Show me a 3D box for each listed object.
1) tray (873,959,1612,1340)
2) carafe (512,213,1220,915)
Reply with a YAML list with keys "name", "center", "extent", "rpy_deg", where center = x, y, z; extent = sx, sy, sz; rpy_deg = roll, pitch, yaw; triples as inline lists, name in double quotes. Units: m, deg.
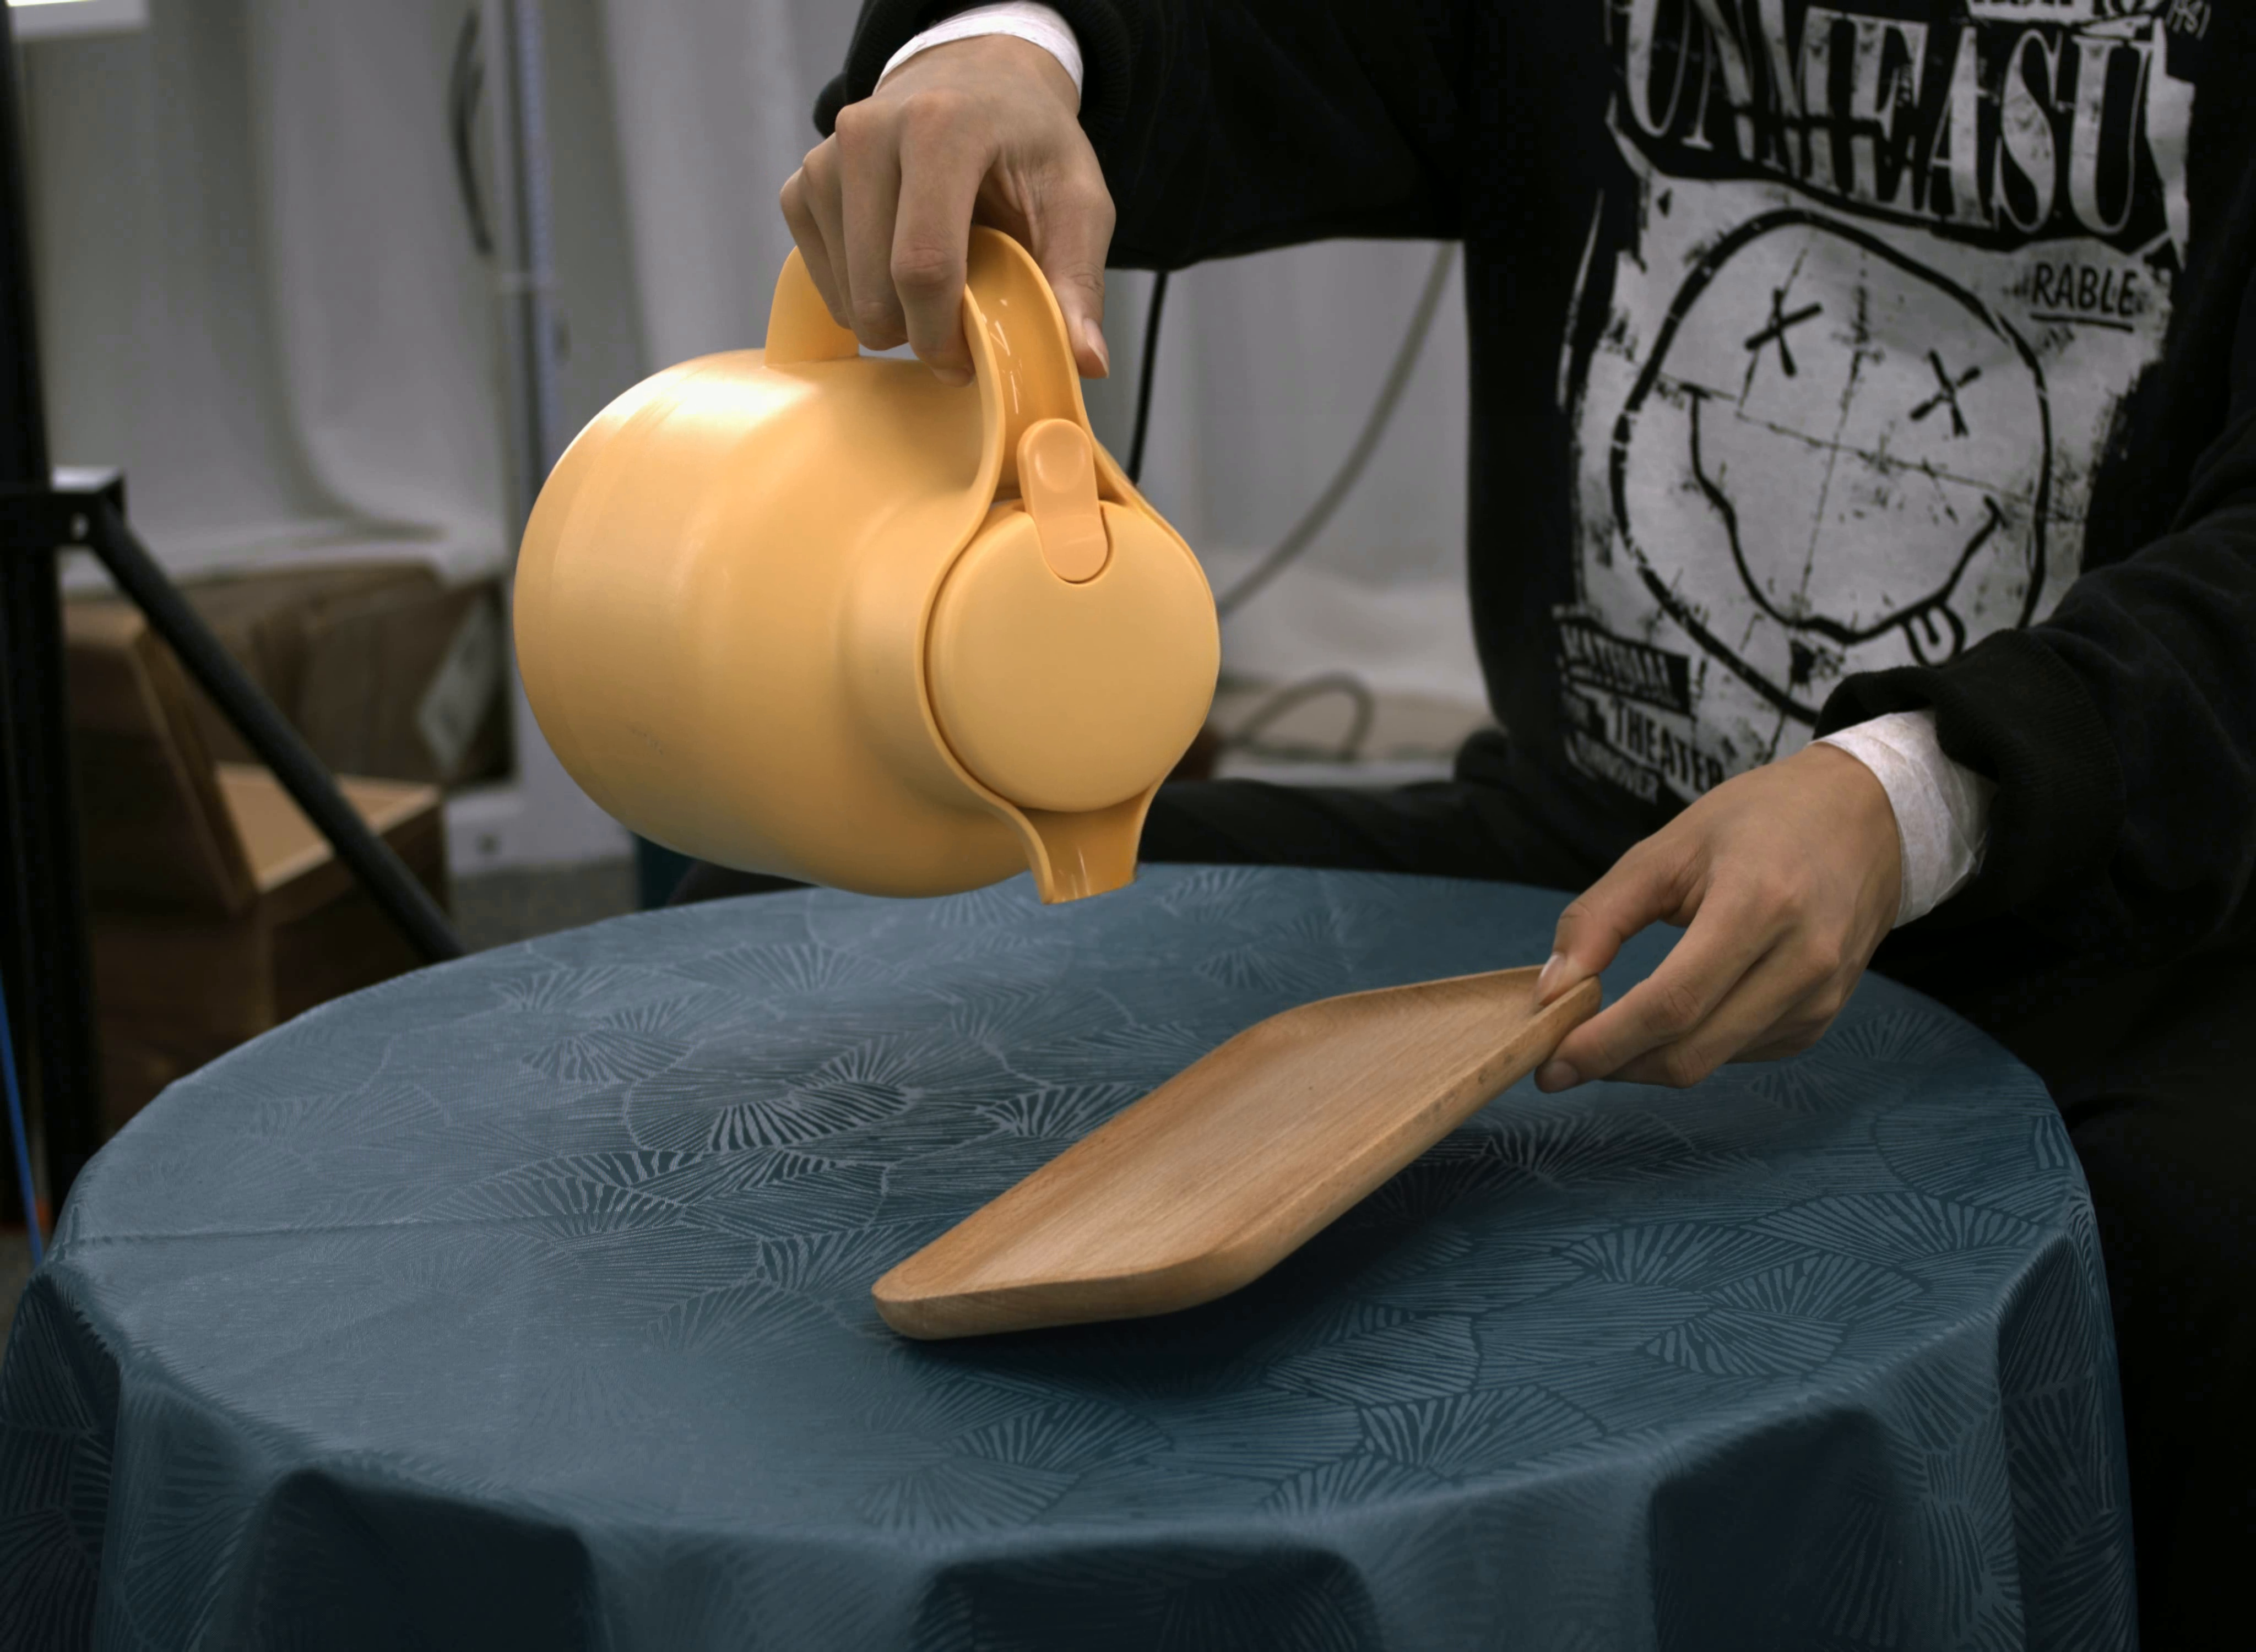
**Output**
- name: "tray"
  center: [0.037, 0.090, 1.505]
  extent: [0.133, 0.023, 0.246]
  rpy_deg: [-7, 14, 36]
- name: "carafe"
  center: [-0.070, -0.080, 1.587]
  extent: [0.160, 0.203, 0.266]
  rpy_deg: [-7, 10, -28]
